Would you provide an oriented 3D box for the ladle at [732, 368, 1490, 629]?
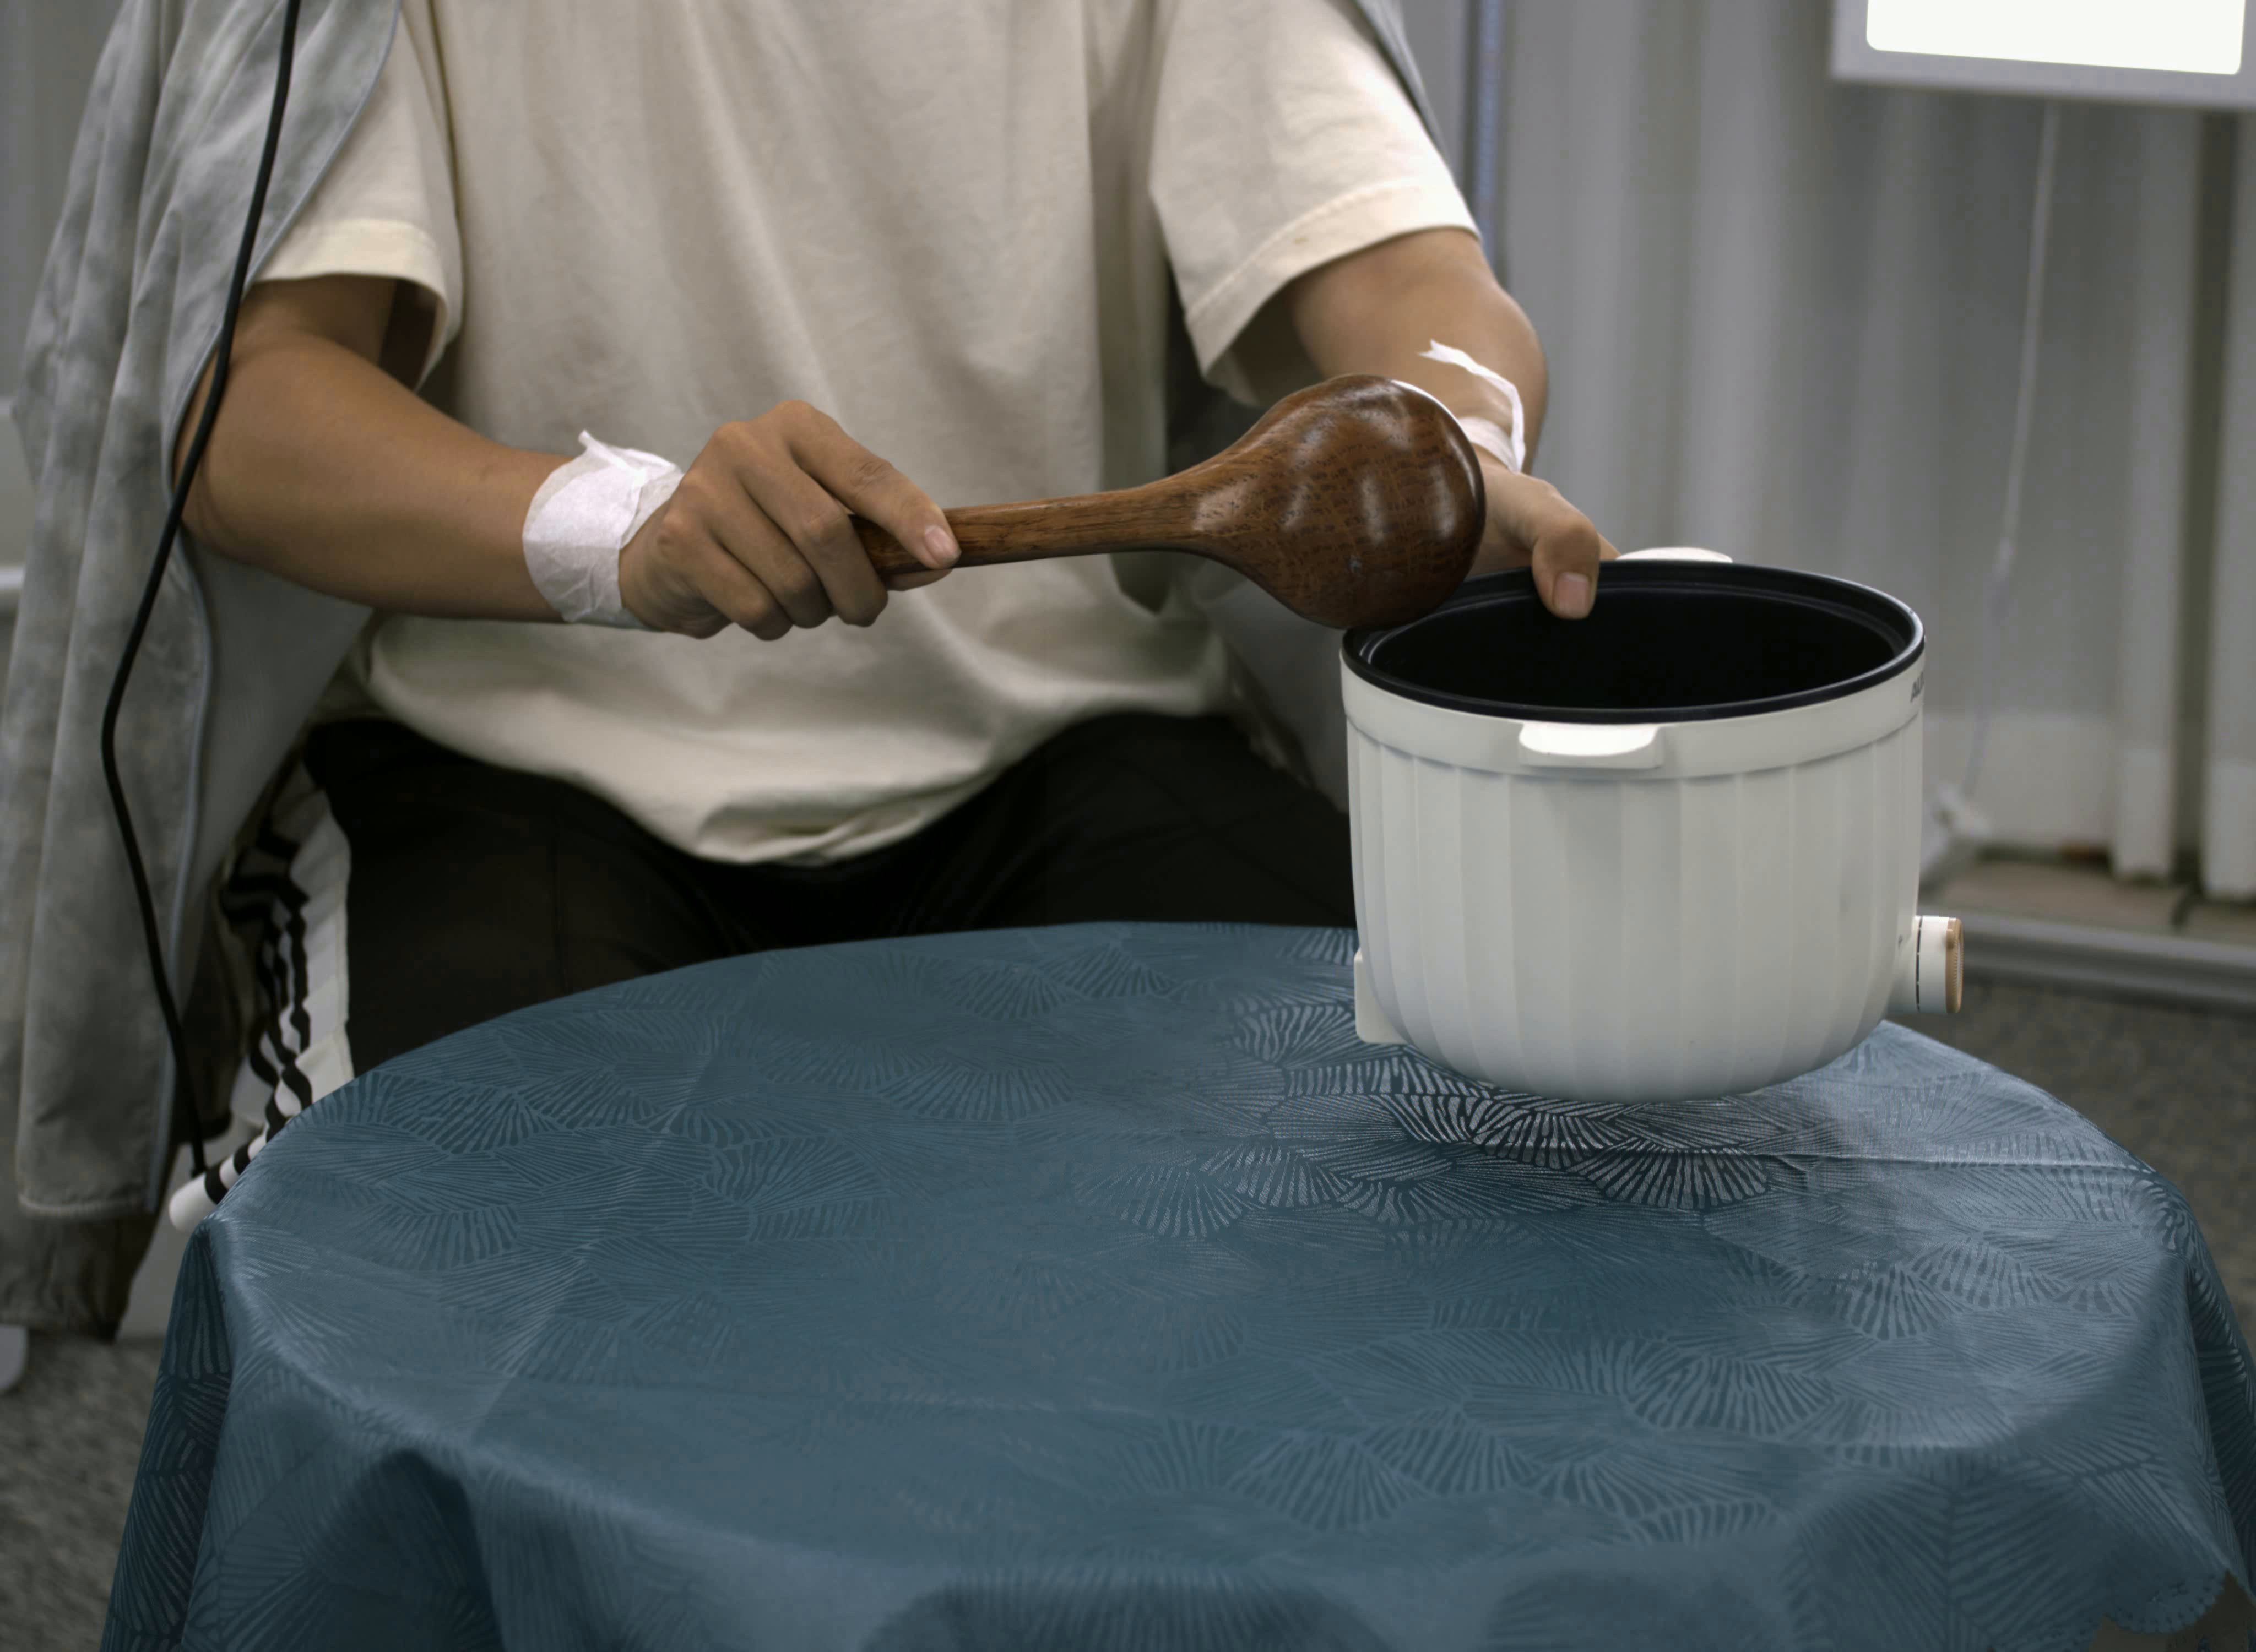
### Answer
[{"bbox_3d":[-0.006,-0.096,1.707,0.271,0.082,0.077,-5,-9,40],"label":"ladle"}]

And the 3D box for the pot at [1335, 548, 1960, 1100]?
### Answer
[{"bbox_3d":[0.164,0.002,1.655,0.189,0.144,0.240,-2,18,13],"label":"pot"}]
